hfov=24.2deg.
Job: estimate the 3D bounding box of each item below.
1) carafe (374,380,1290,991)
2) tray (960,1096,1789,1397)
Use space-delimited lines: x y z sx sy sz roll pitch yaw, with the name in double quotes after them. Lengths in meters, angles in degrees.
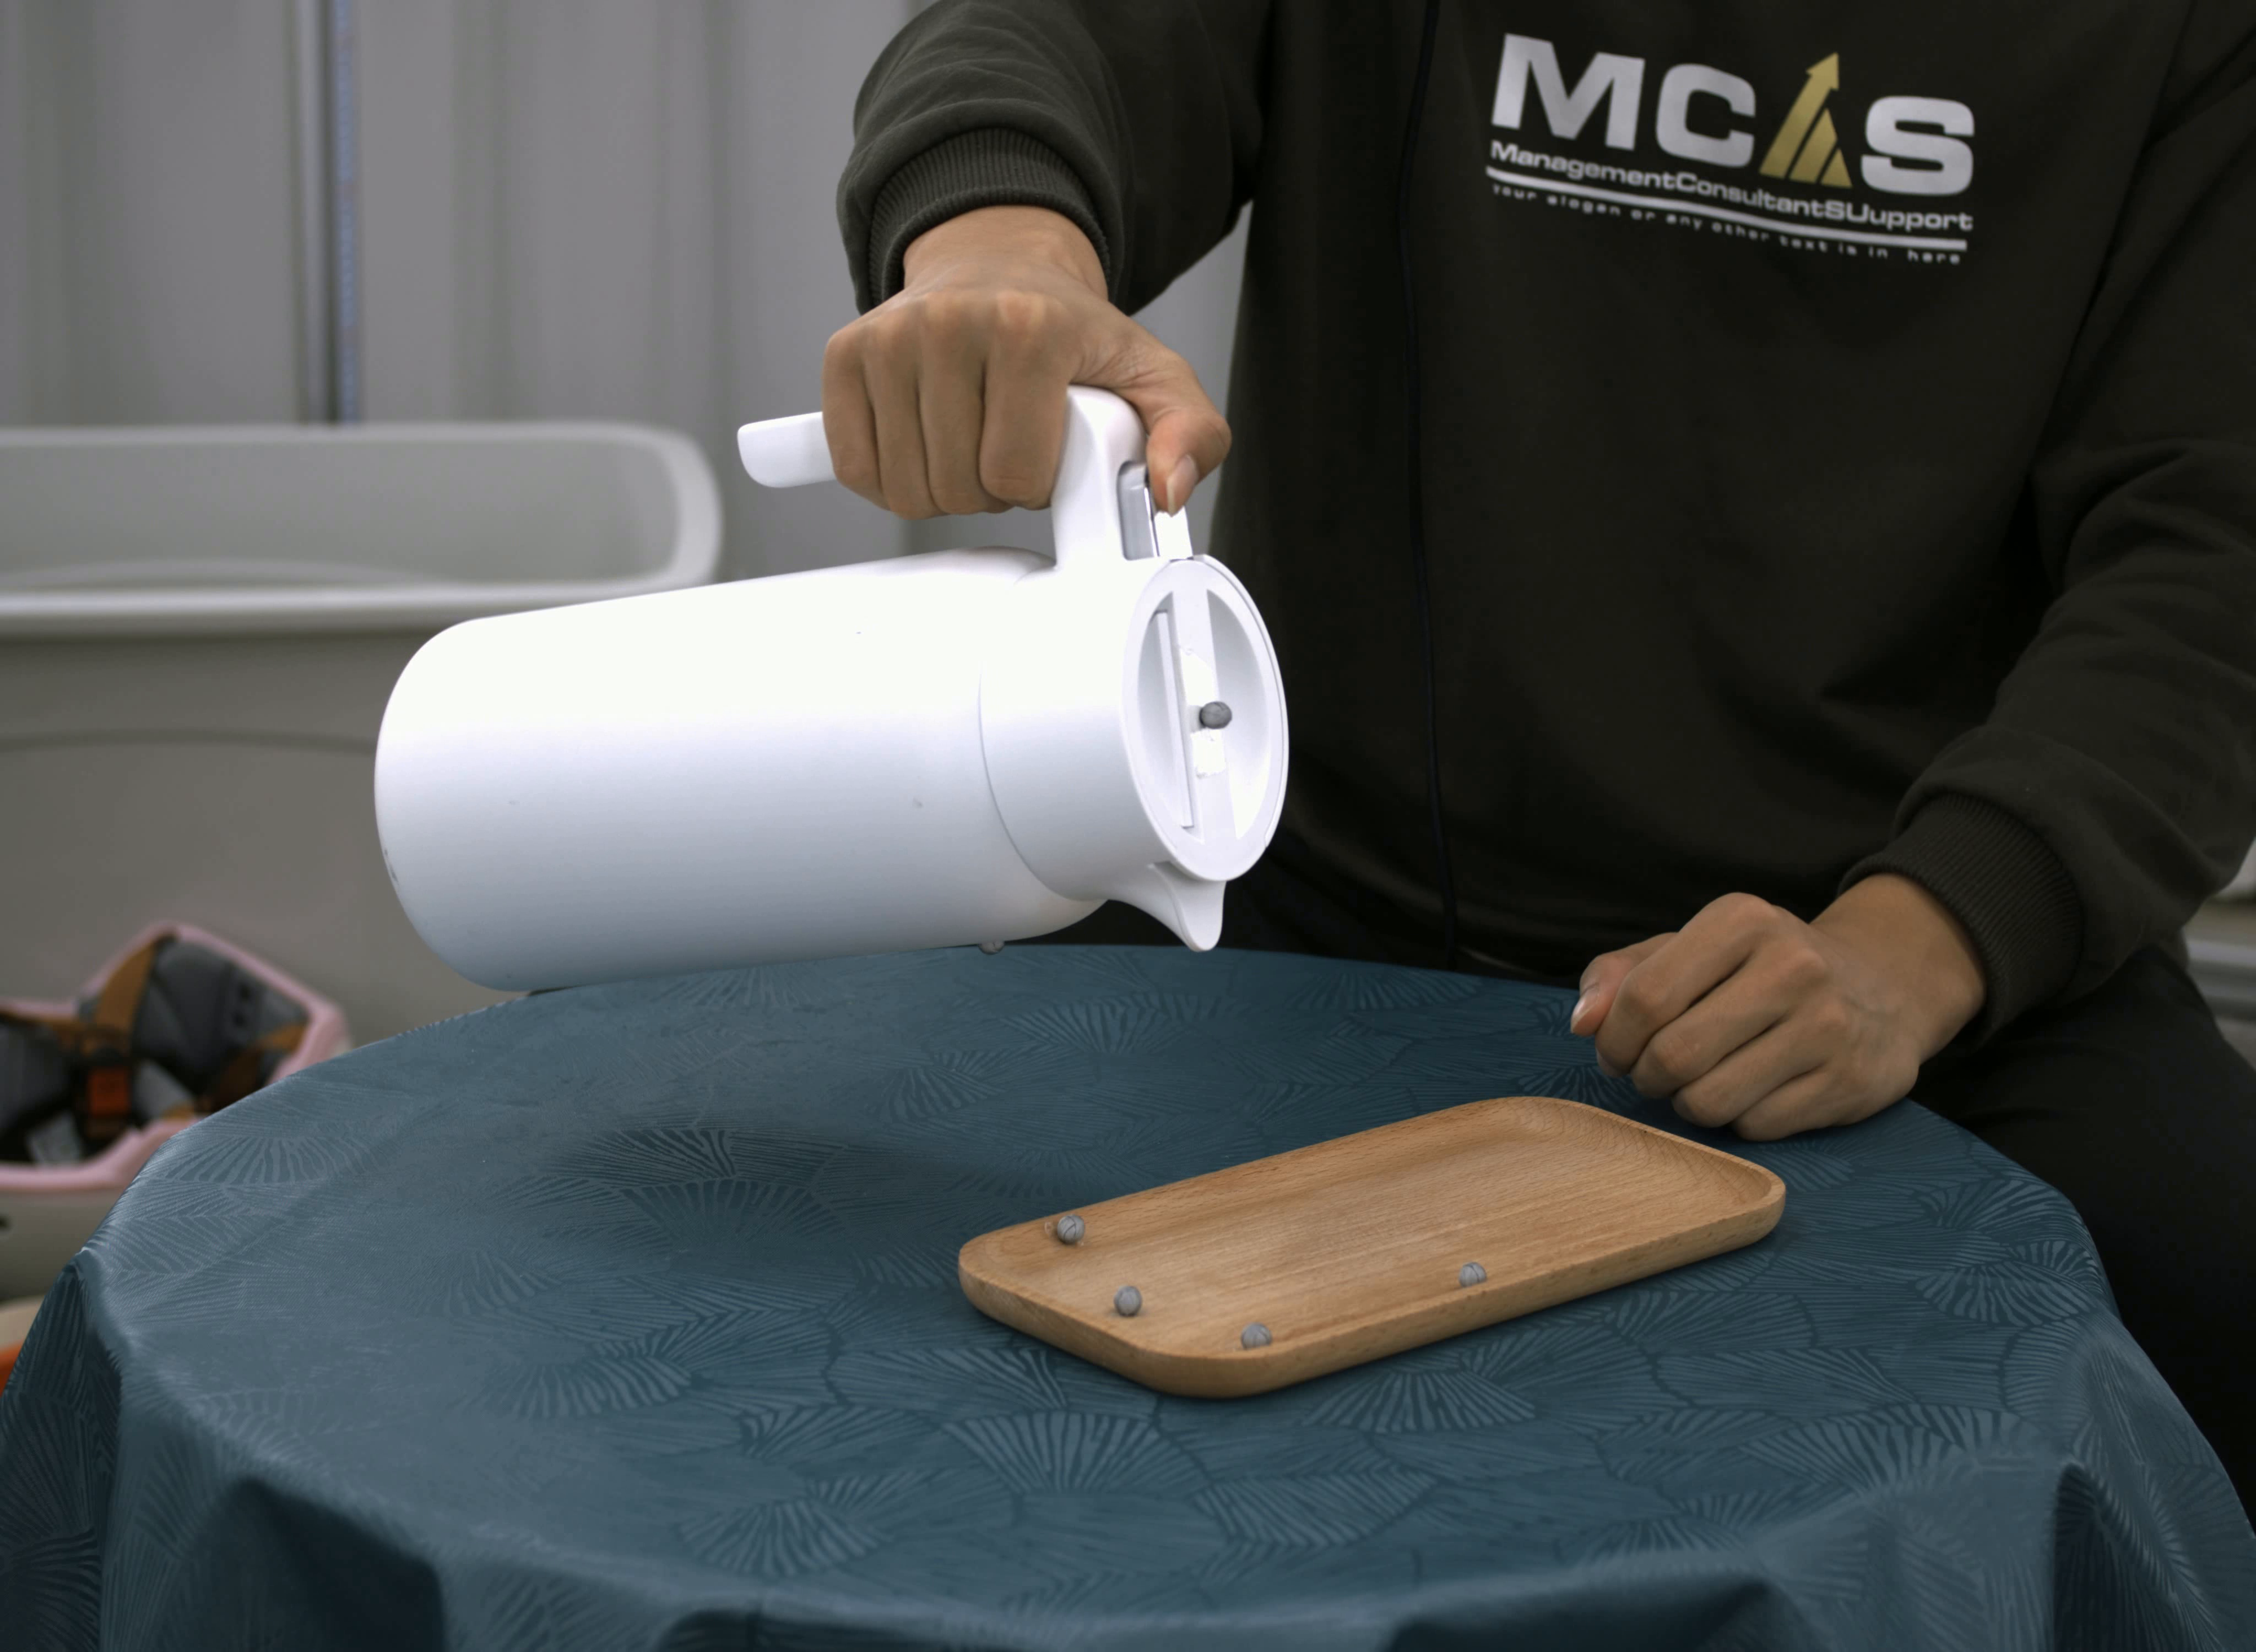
-0.093 -0.036 1.580 0.266 0.173 0.124 -7 2 31 "carafe"
0.076 0.123 1.568 0.252 0.023 0.129 -11 22 -38 "tray"
